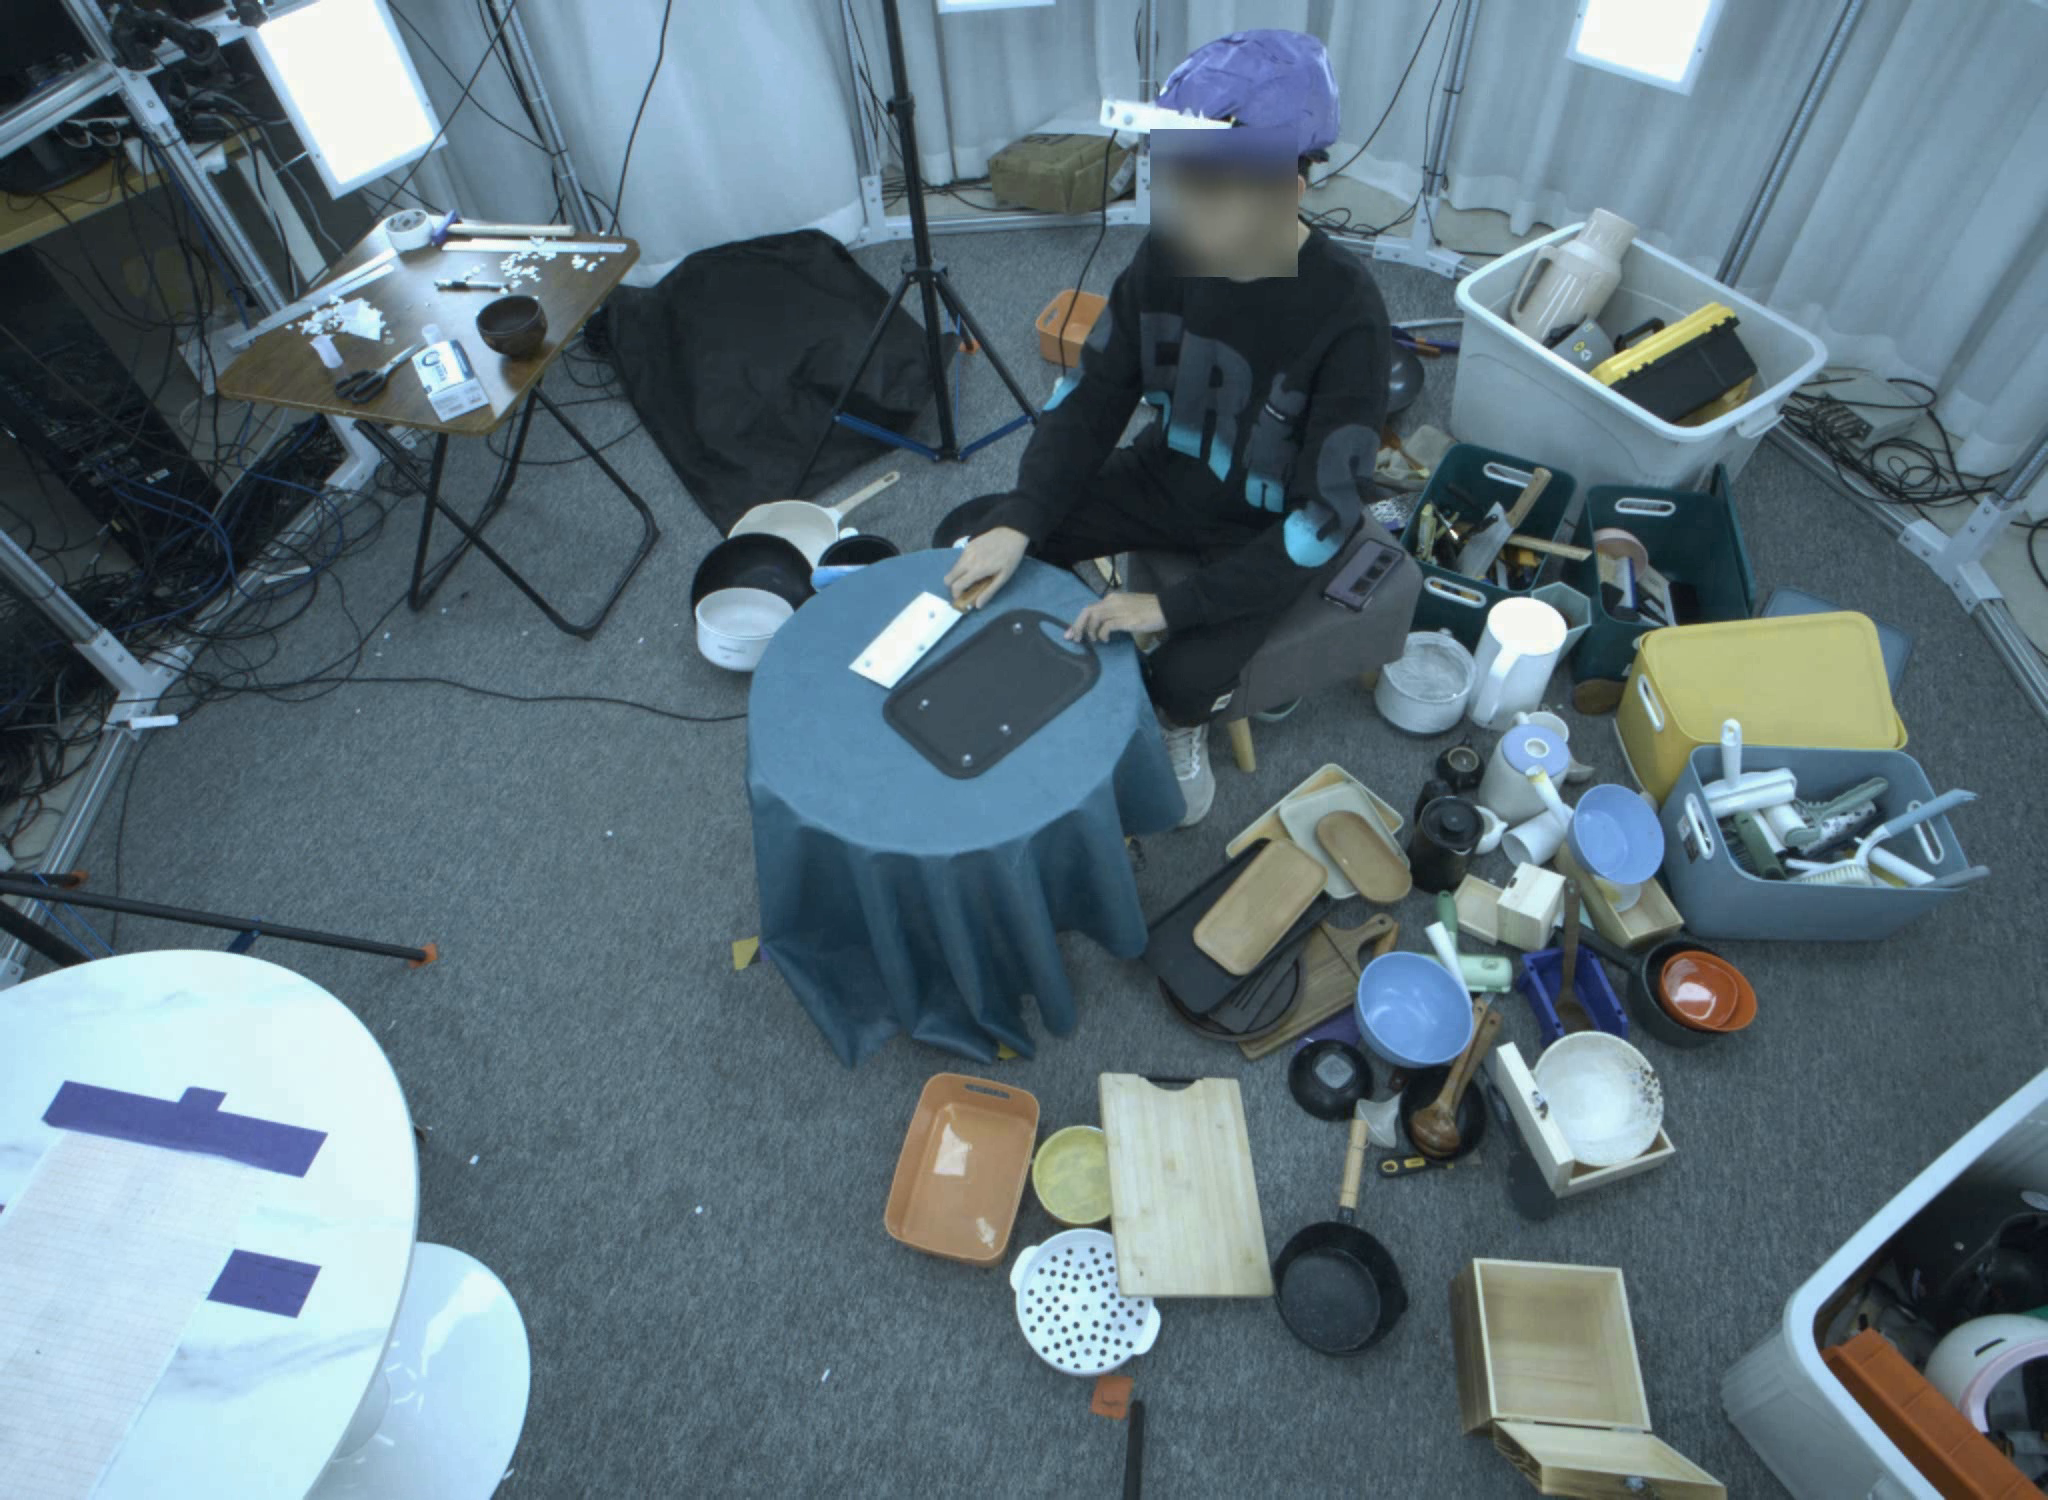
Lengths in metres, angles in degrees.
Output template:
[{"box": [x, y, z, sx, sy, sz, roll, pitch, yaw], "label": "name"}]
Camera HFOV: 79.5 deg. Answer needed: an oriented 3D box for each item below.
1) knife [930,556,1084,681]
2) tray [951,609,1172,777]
[{"box": [-0.030, -0.218, 1.934, 0.091, 0.021, 0.307, 31, 62, 29], "label": "knife"}, {"box": [0.062, -0.097, 1.849, 0.328, 0.010, 0.207, -34, 60, -20], "label": "tray"}]
